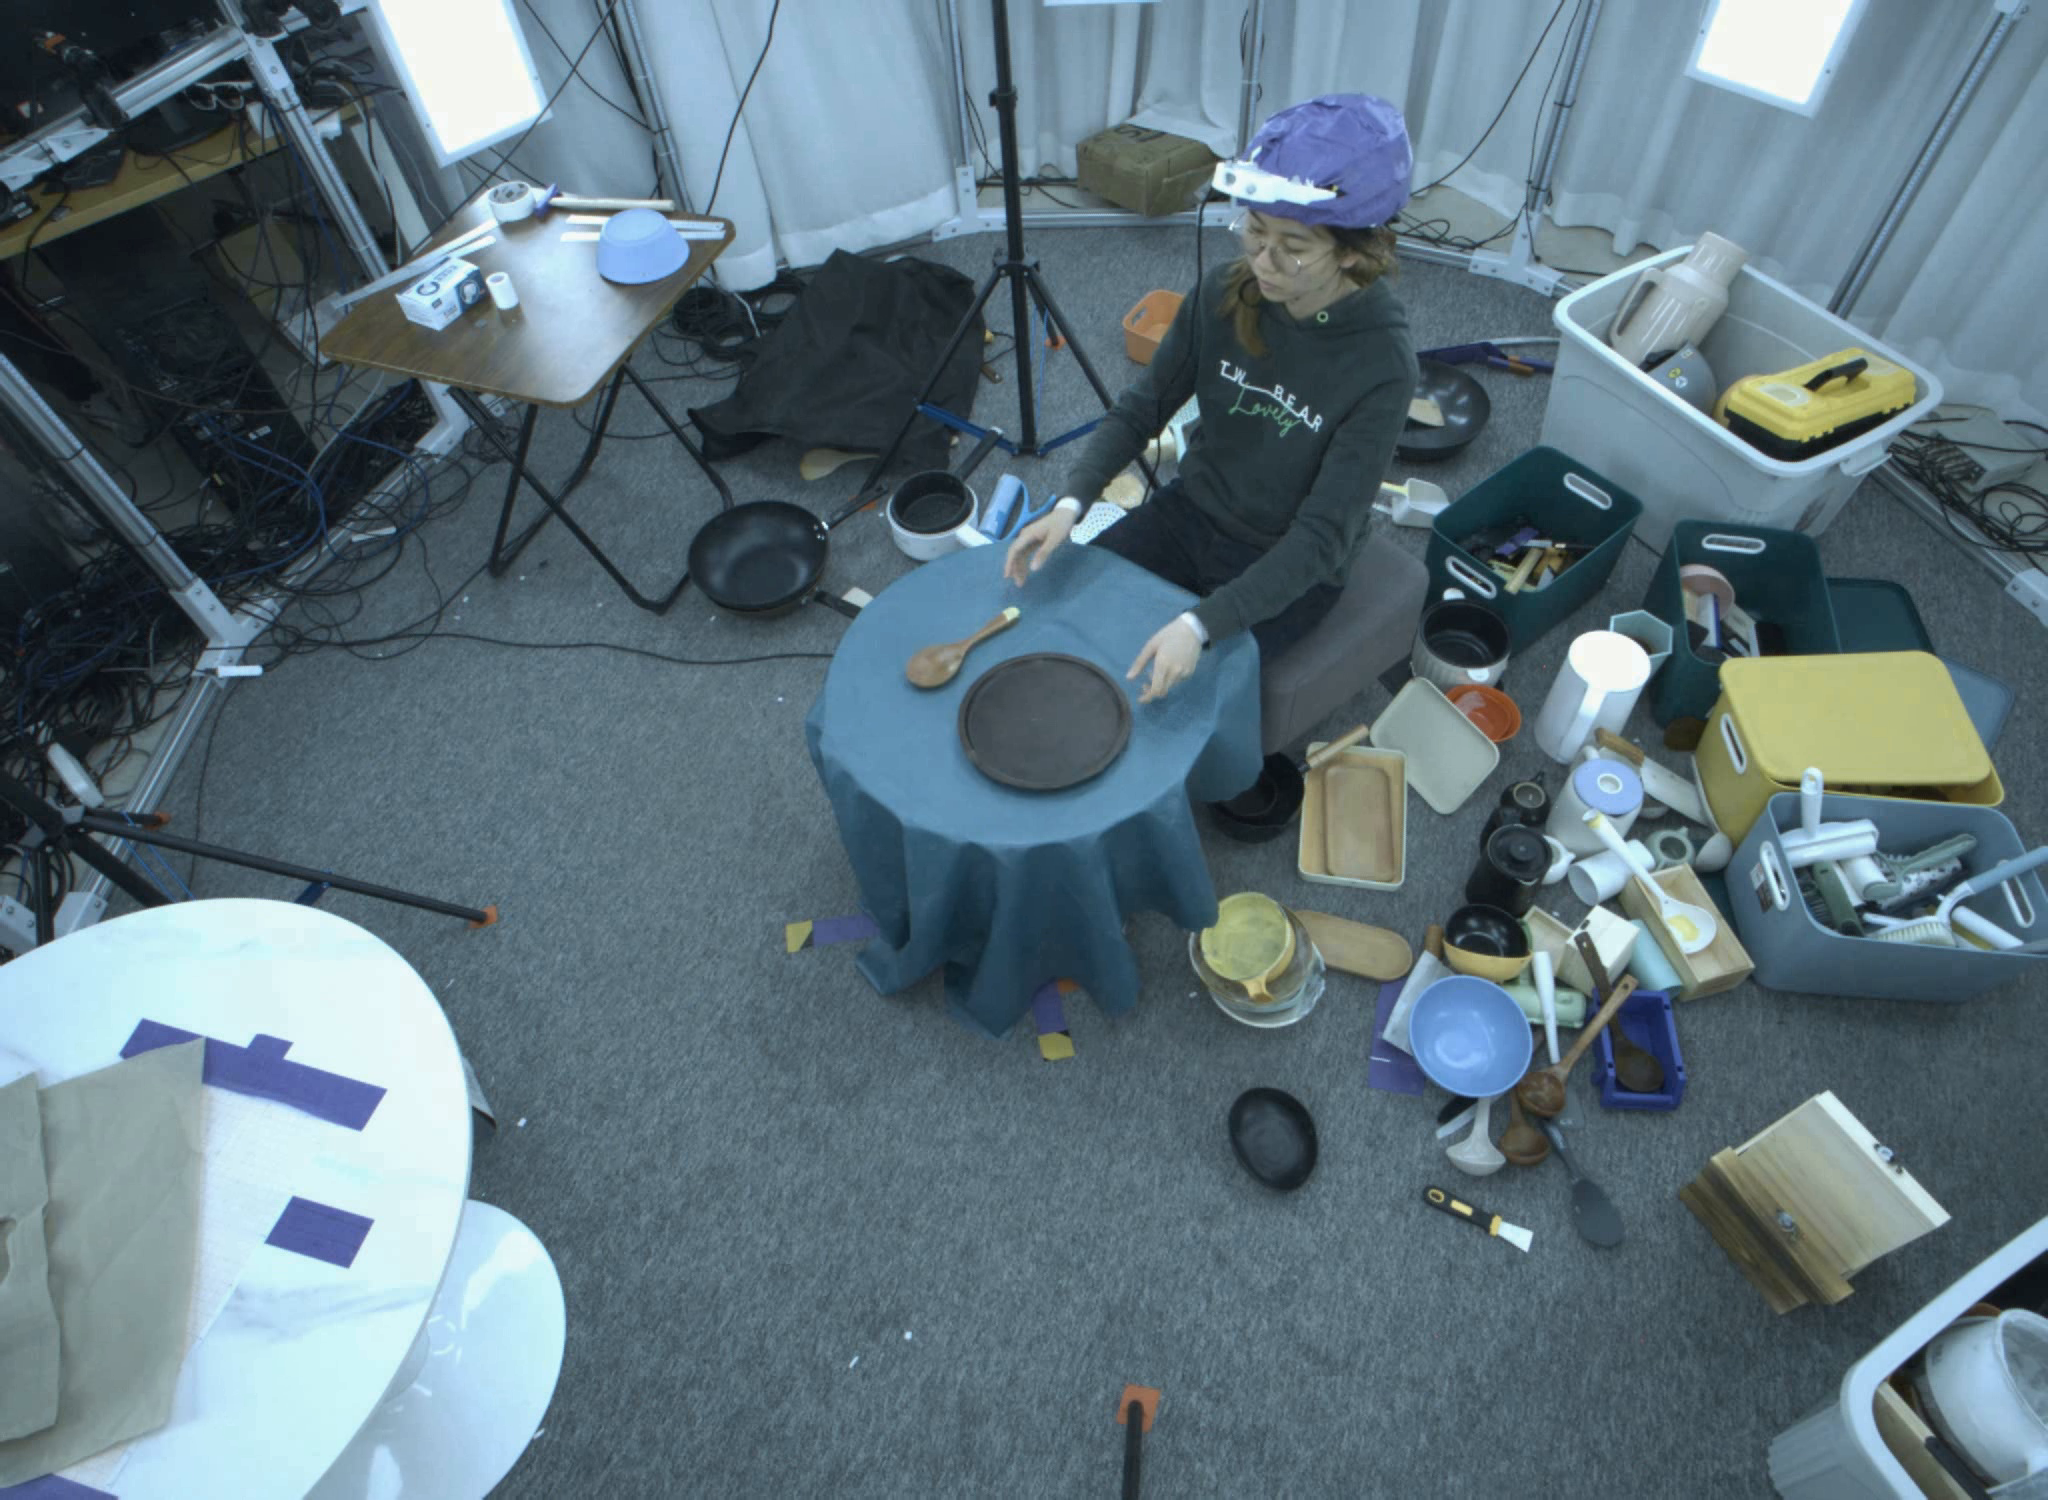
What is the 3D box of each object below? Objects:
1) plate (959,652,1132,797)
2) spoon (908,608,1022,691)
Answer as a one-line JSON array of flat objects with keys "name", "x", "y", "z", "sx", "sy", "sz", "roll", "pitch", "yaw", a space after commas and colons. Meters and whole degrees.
[{"name": "plate", "x": 0.031, "y": -0.036, "z": 1.809, "sx": 0.254, "sy": 0.029, "sz": 0.252, "roll": 0, "pitch": 56, "yaw": 2}, {"name": "spoon", "x": -0.087, "y": -0.157, "z": 1.900, "sx": 0.217, "sy": 0.017, "sz": 0.074, "roll": -37, "pitch": 62, "yaw": -22}]
